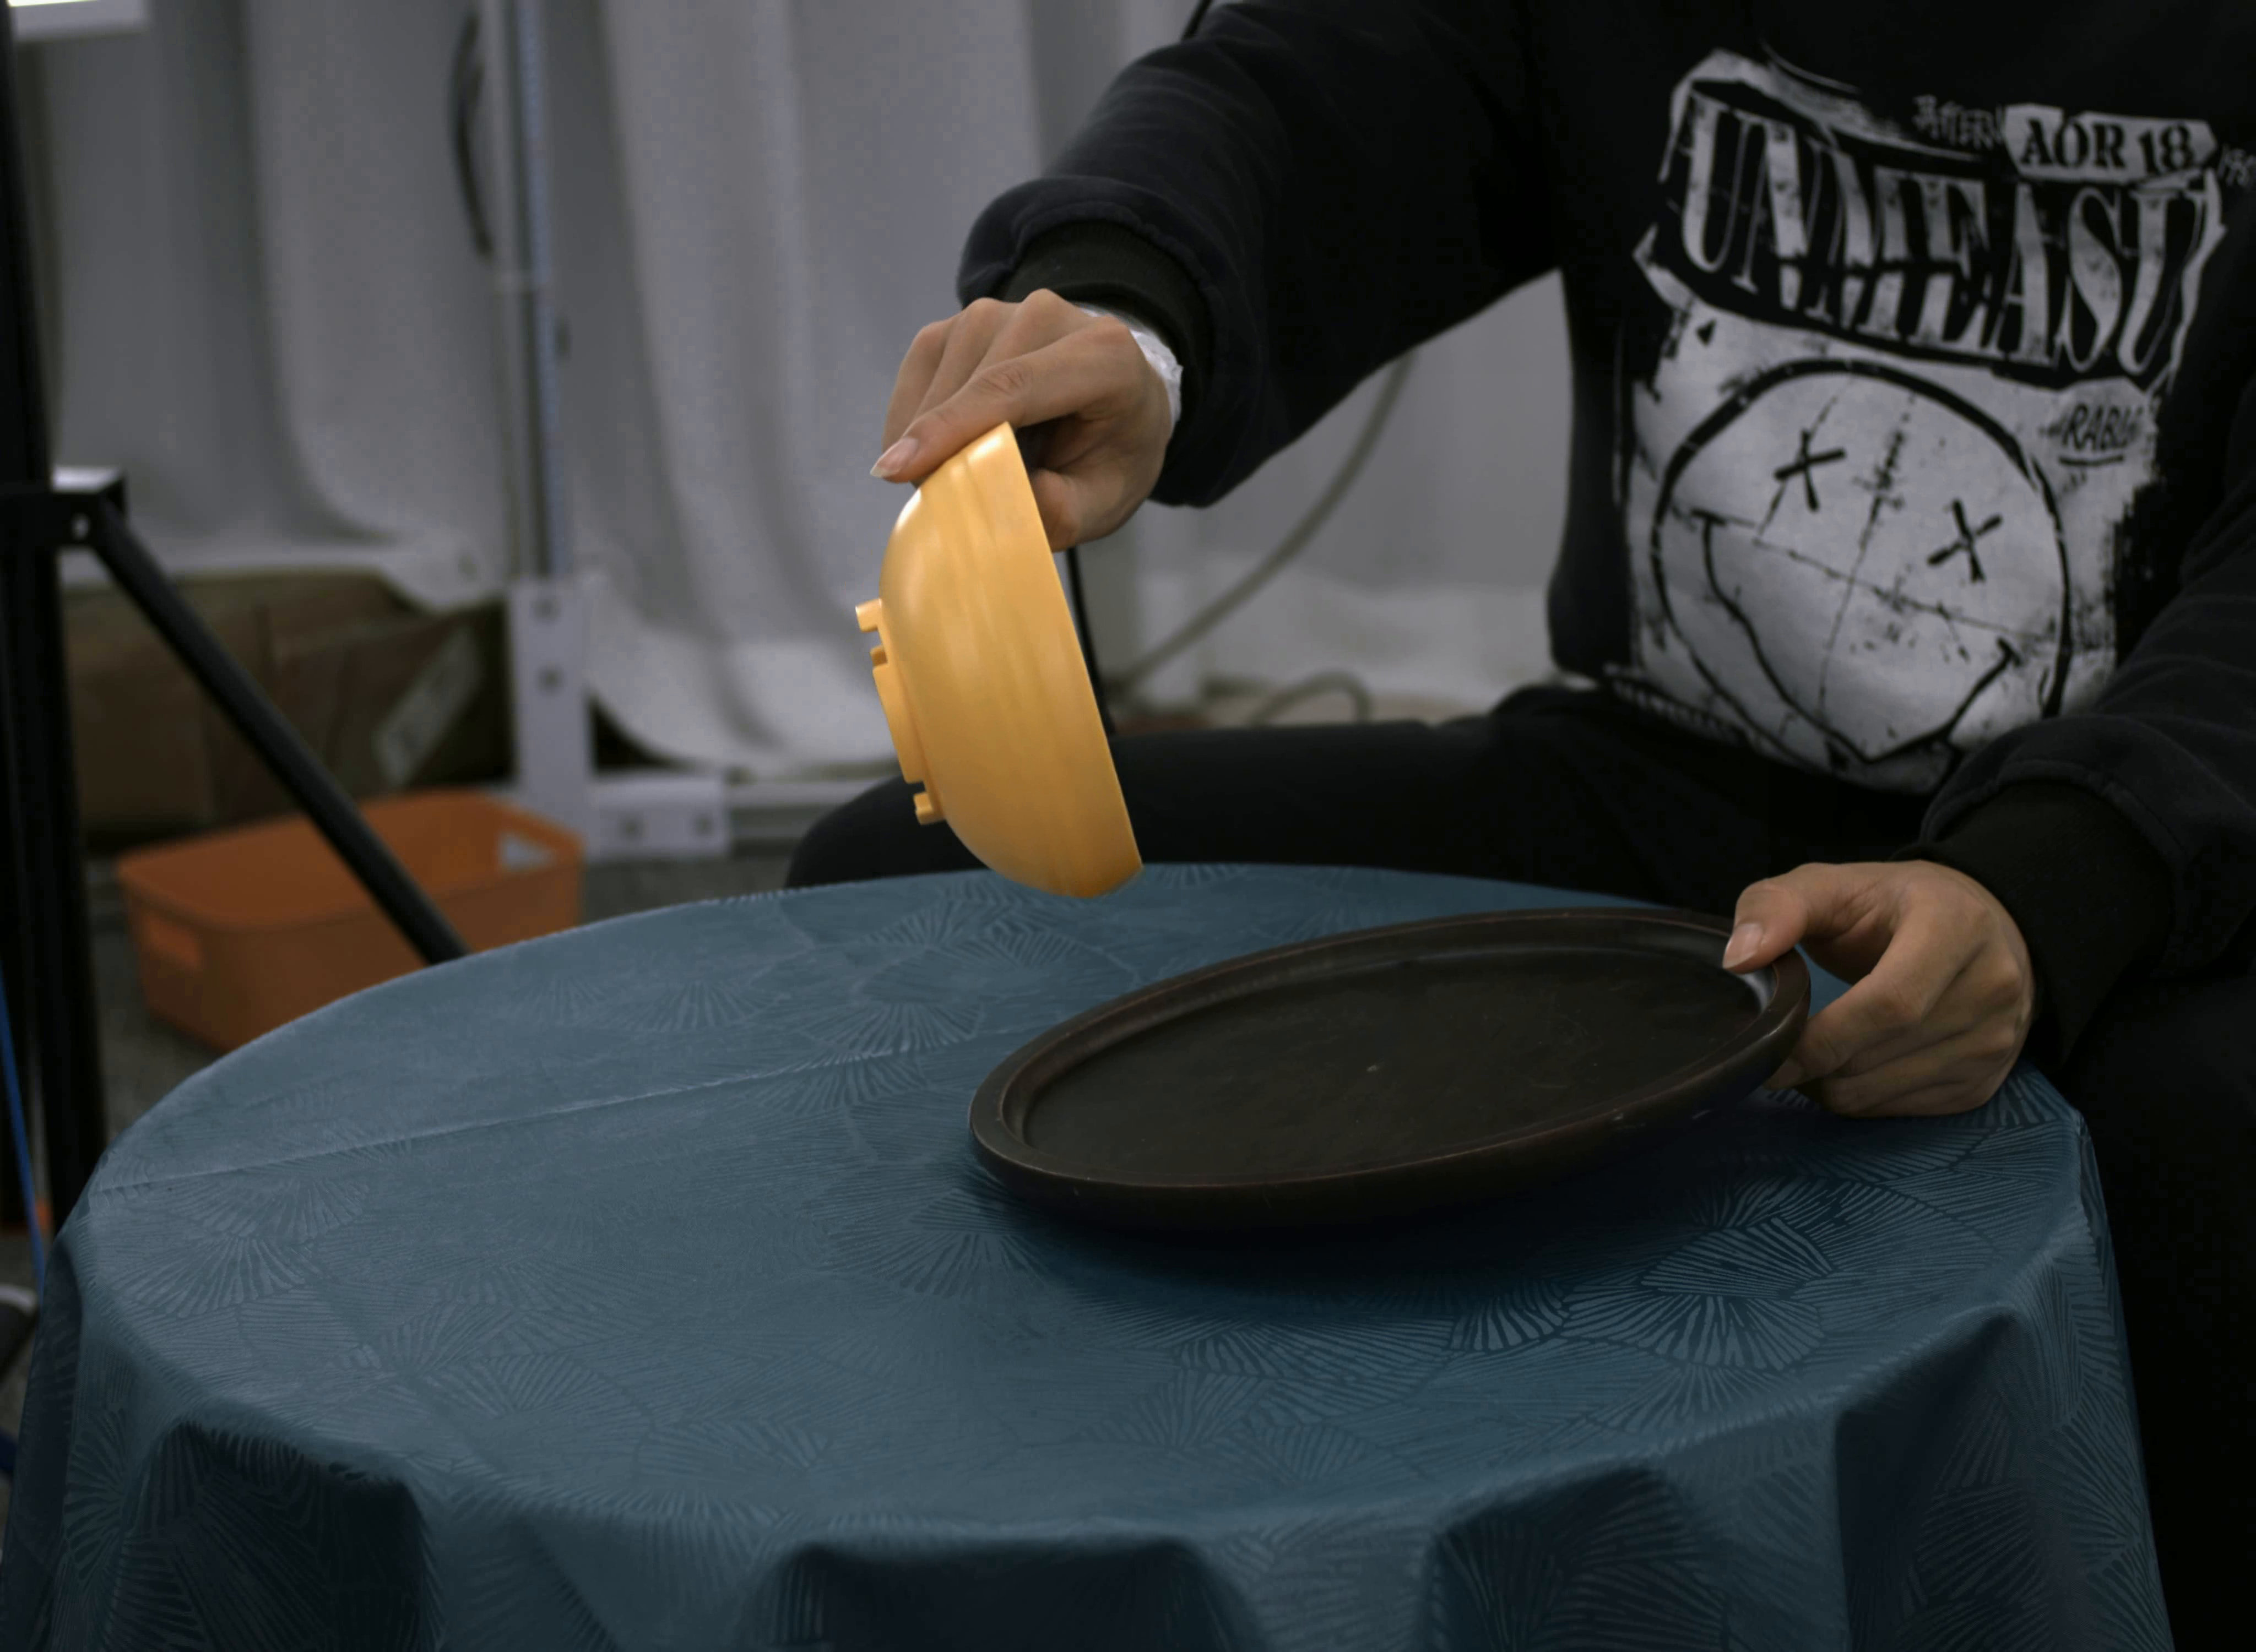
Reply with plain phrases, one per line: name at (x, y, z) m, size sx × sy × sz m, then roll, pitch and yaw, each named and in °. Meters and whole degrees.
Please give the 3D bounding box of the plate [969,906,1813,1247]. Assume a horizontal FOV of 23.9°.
plate at (0.078, 0.073, 1.569) m, size 0.254 × 0.029 × 0.256 m, roll -12°, pitch 12°, yaw 1°

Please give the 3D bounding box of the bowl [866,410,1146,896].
bowl at (-0.039, -0.043, 1.545) m, size 0.060 × 0.145 × 0.146 m, roll -15°, pitch 16°, yaw 1°
